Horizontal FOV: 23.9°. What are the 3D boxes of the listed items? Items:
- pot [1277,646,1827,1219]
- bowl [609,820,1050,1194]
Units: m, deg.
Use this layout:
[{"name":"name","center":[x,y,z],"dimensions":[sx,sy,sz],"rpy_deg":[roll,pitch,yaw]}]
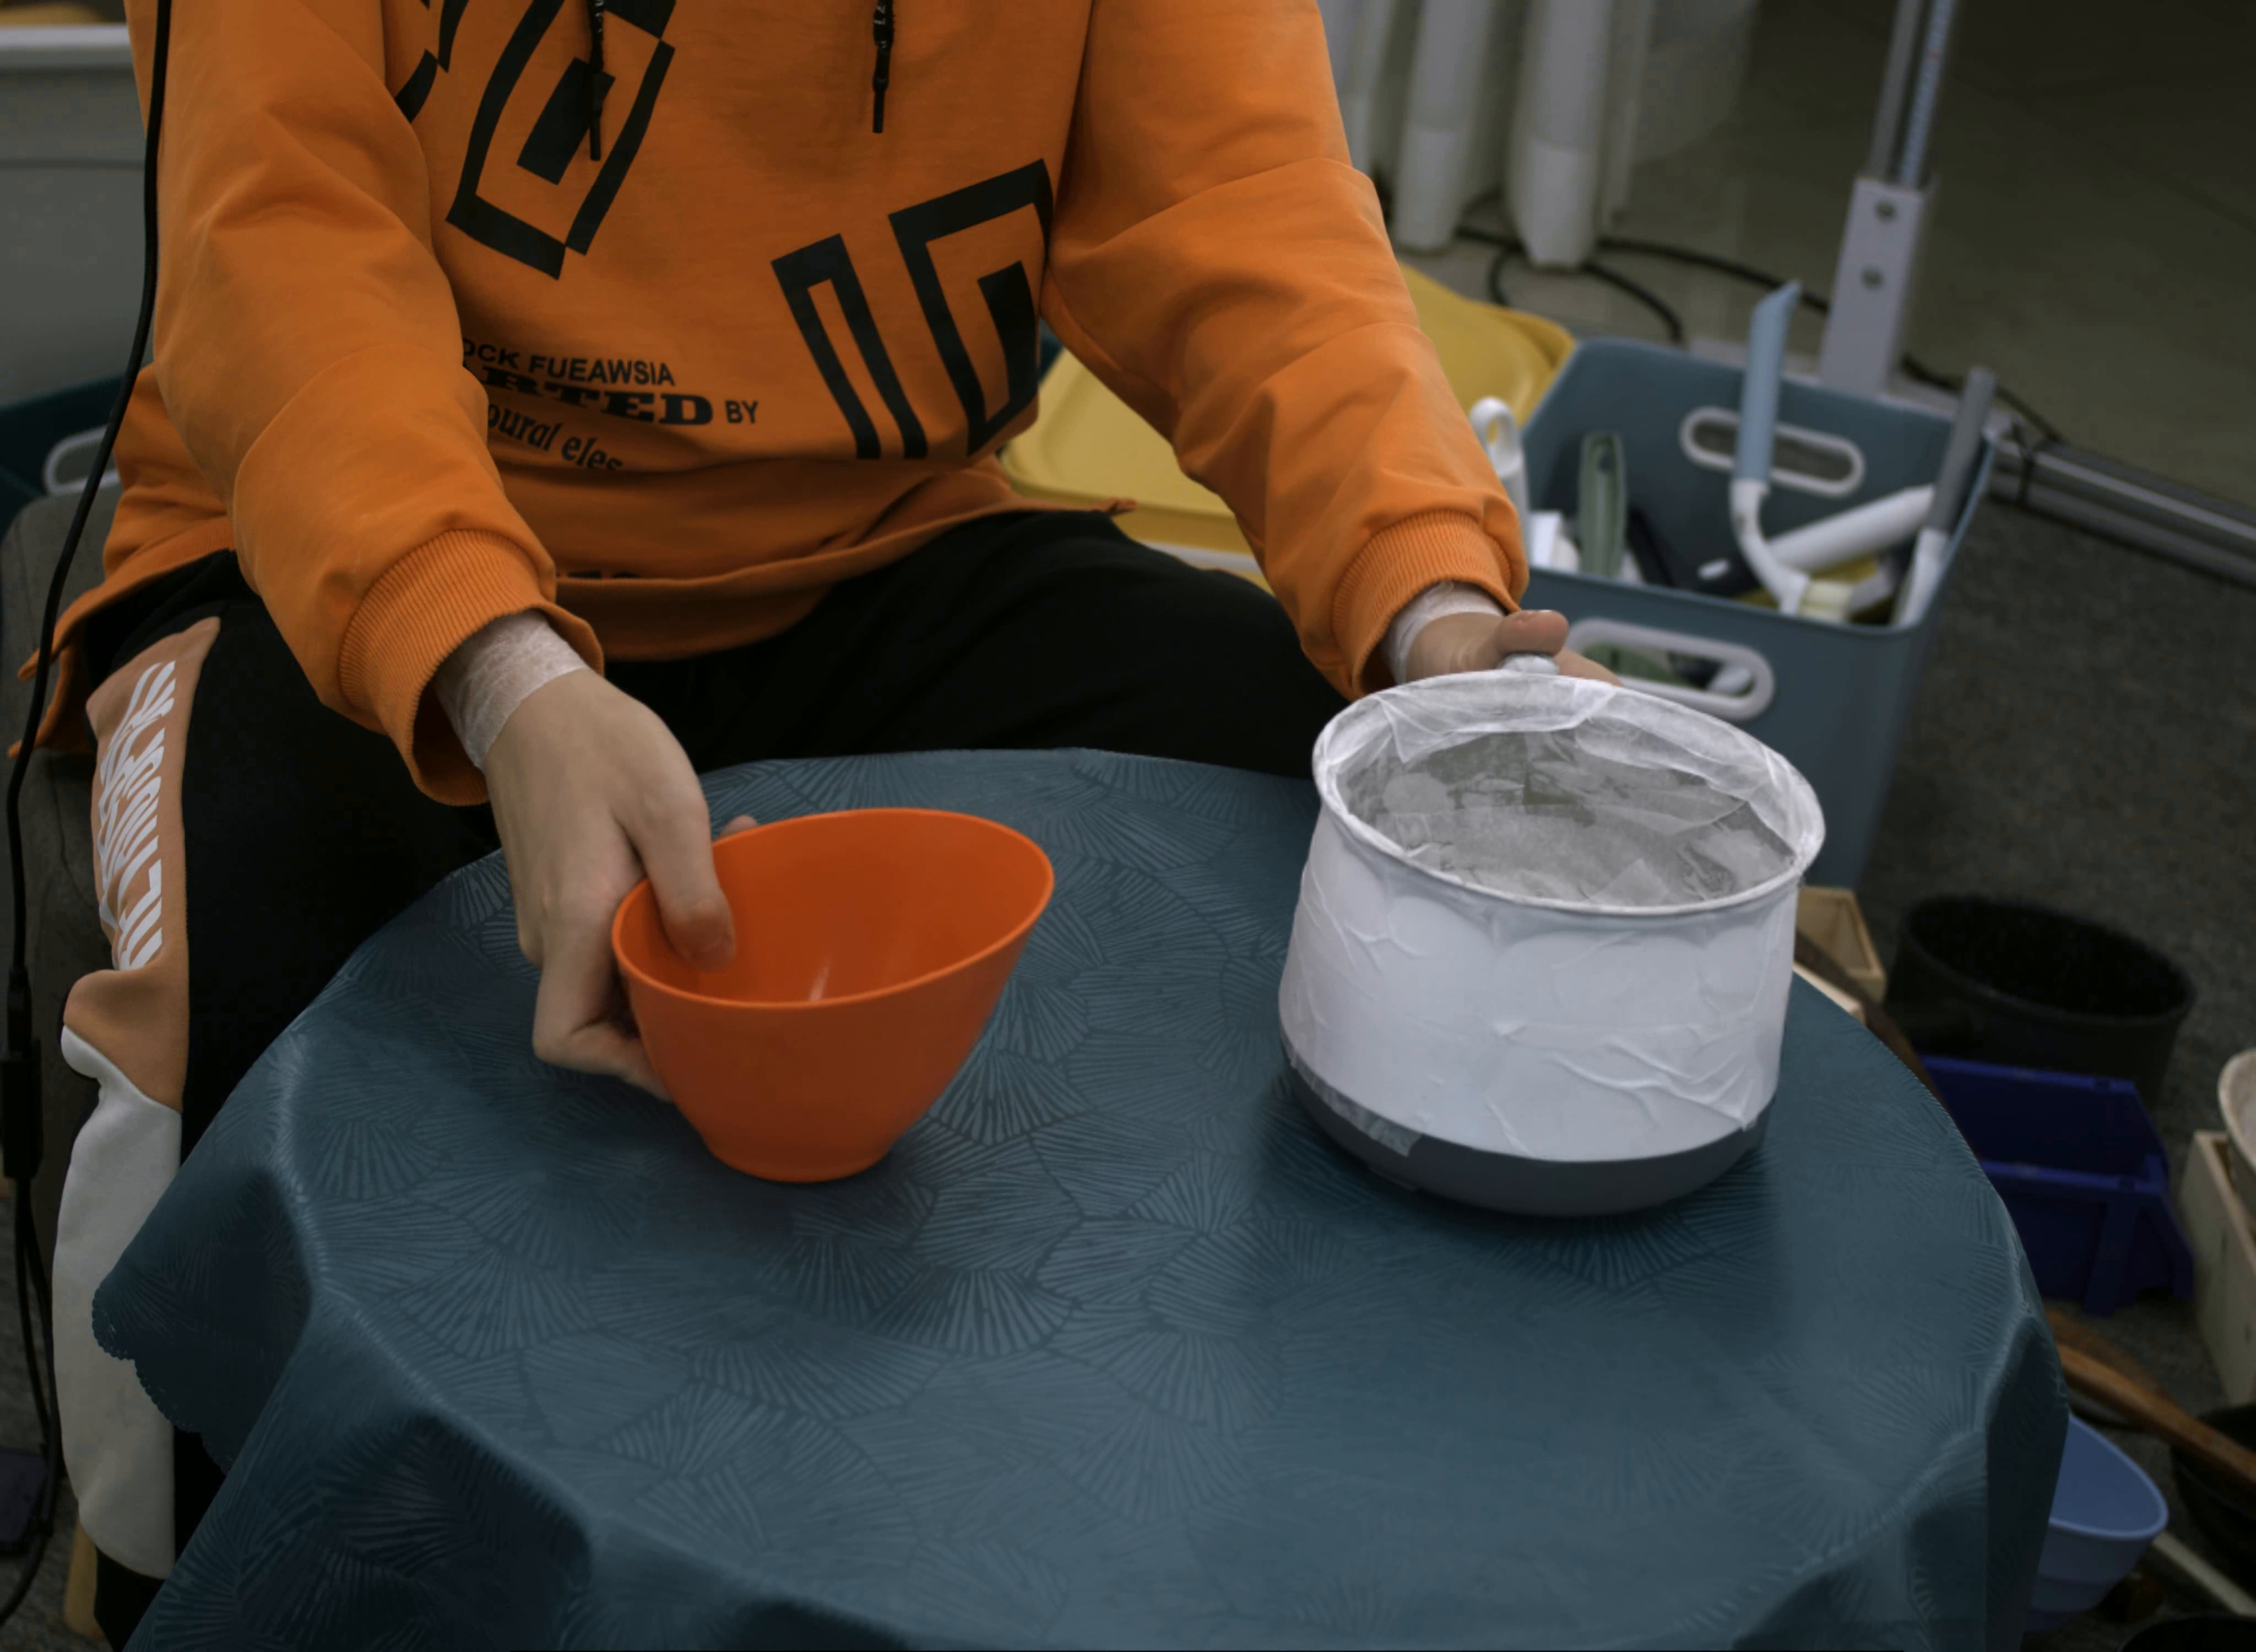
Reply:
[{"name":"pot","center":[0.141,0.030,1.866],"dimensions":[0.178,0.136,0.235],"rpy_deg":[4,27,-7]},{"name":"bowl","center":[-0.100,0.065,1.785],"dimensions":[0.147,0.104,0.149],"rpy_deg":[0,26,-1]}]
